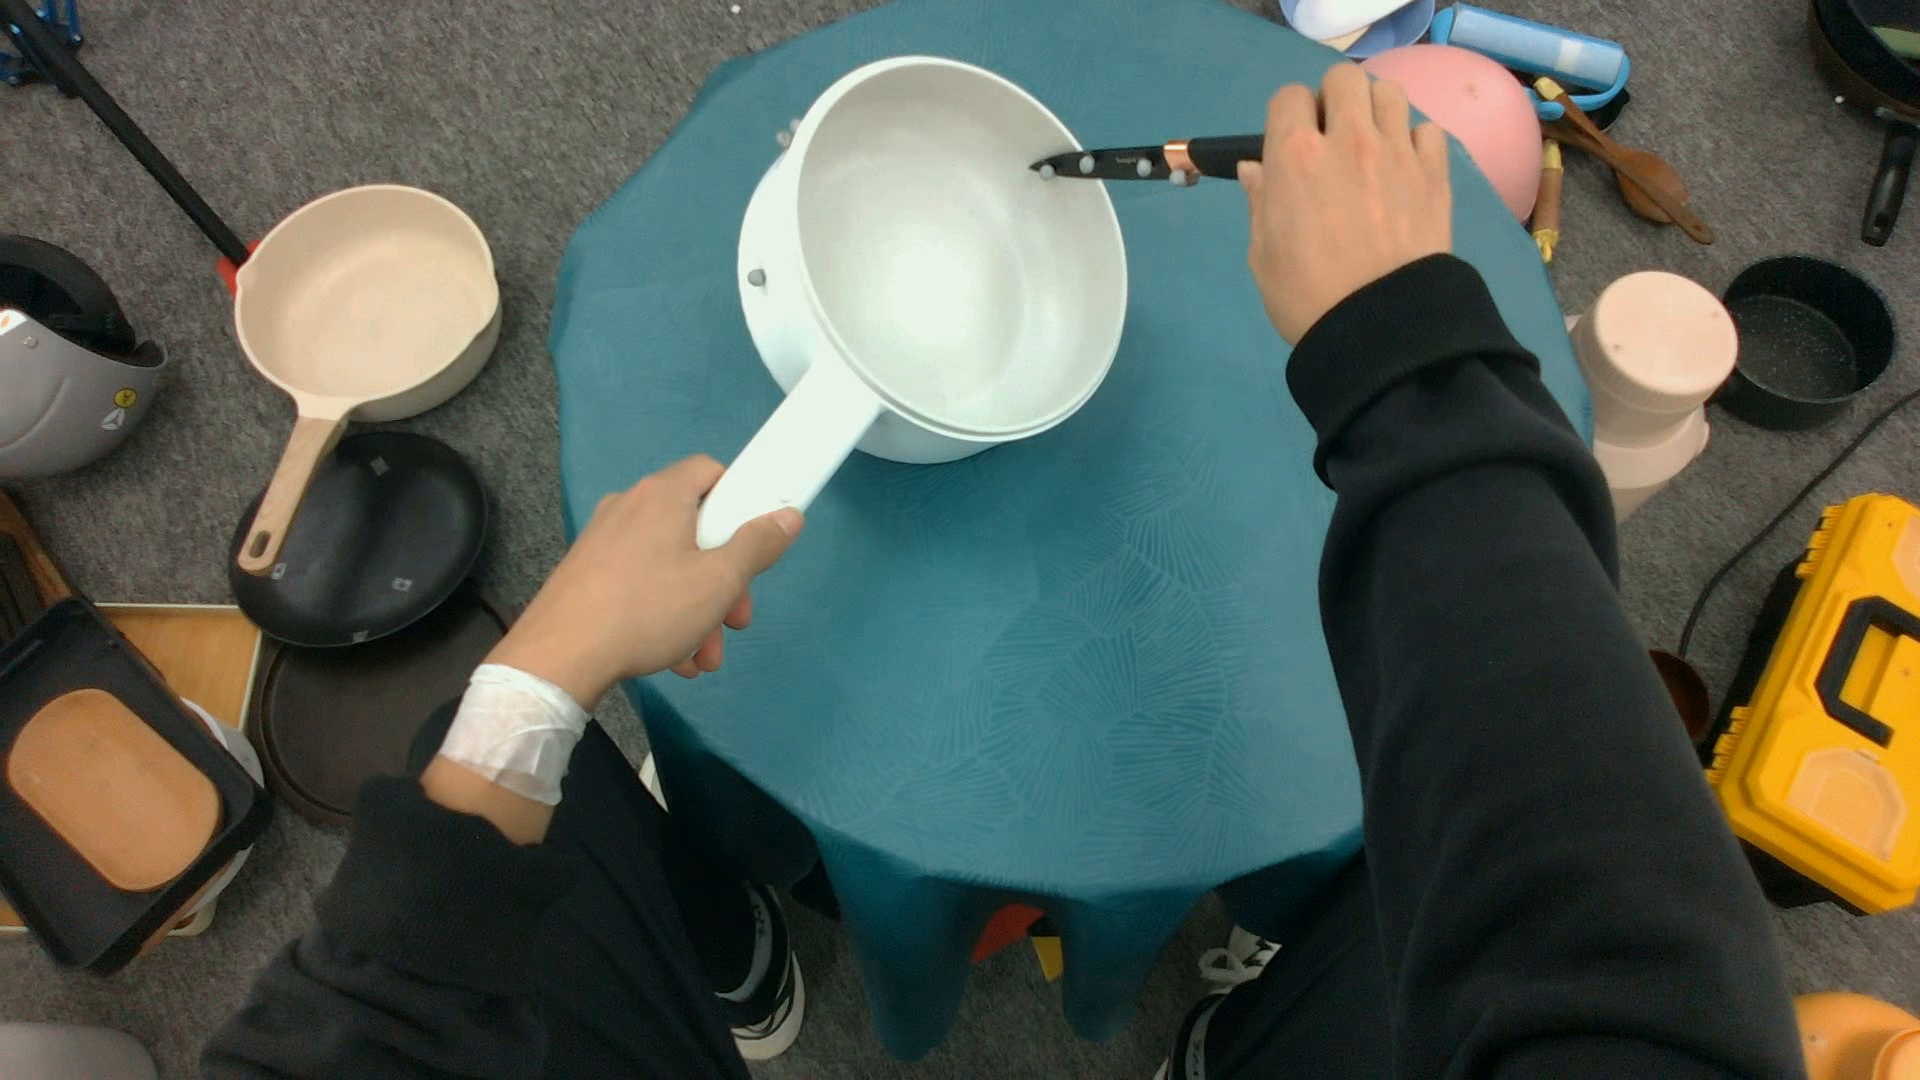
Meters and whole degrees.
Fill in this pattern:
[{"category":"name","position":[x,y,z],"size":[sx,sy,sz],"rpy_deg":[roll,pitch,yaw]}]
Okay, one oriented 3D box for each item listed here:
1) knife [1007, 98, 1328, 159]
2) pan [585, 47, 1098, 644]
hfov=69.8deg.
[{"category":"knife","position":[0.091,-0.202,0.688],"size":[0.026,0.225,0.017],"rpy_deg":[16,89,-39]},{"category":"pan","position":[-0.072,-0.092,0.707],"size":[0.201,0.102,0.356],"rpy_deg":[43,63,-19]}]
